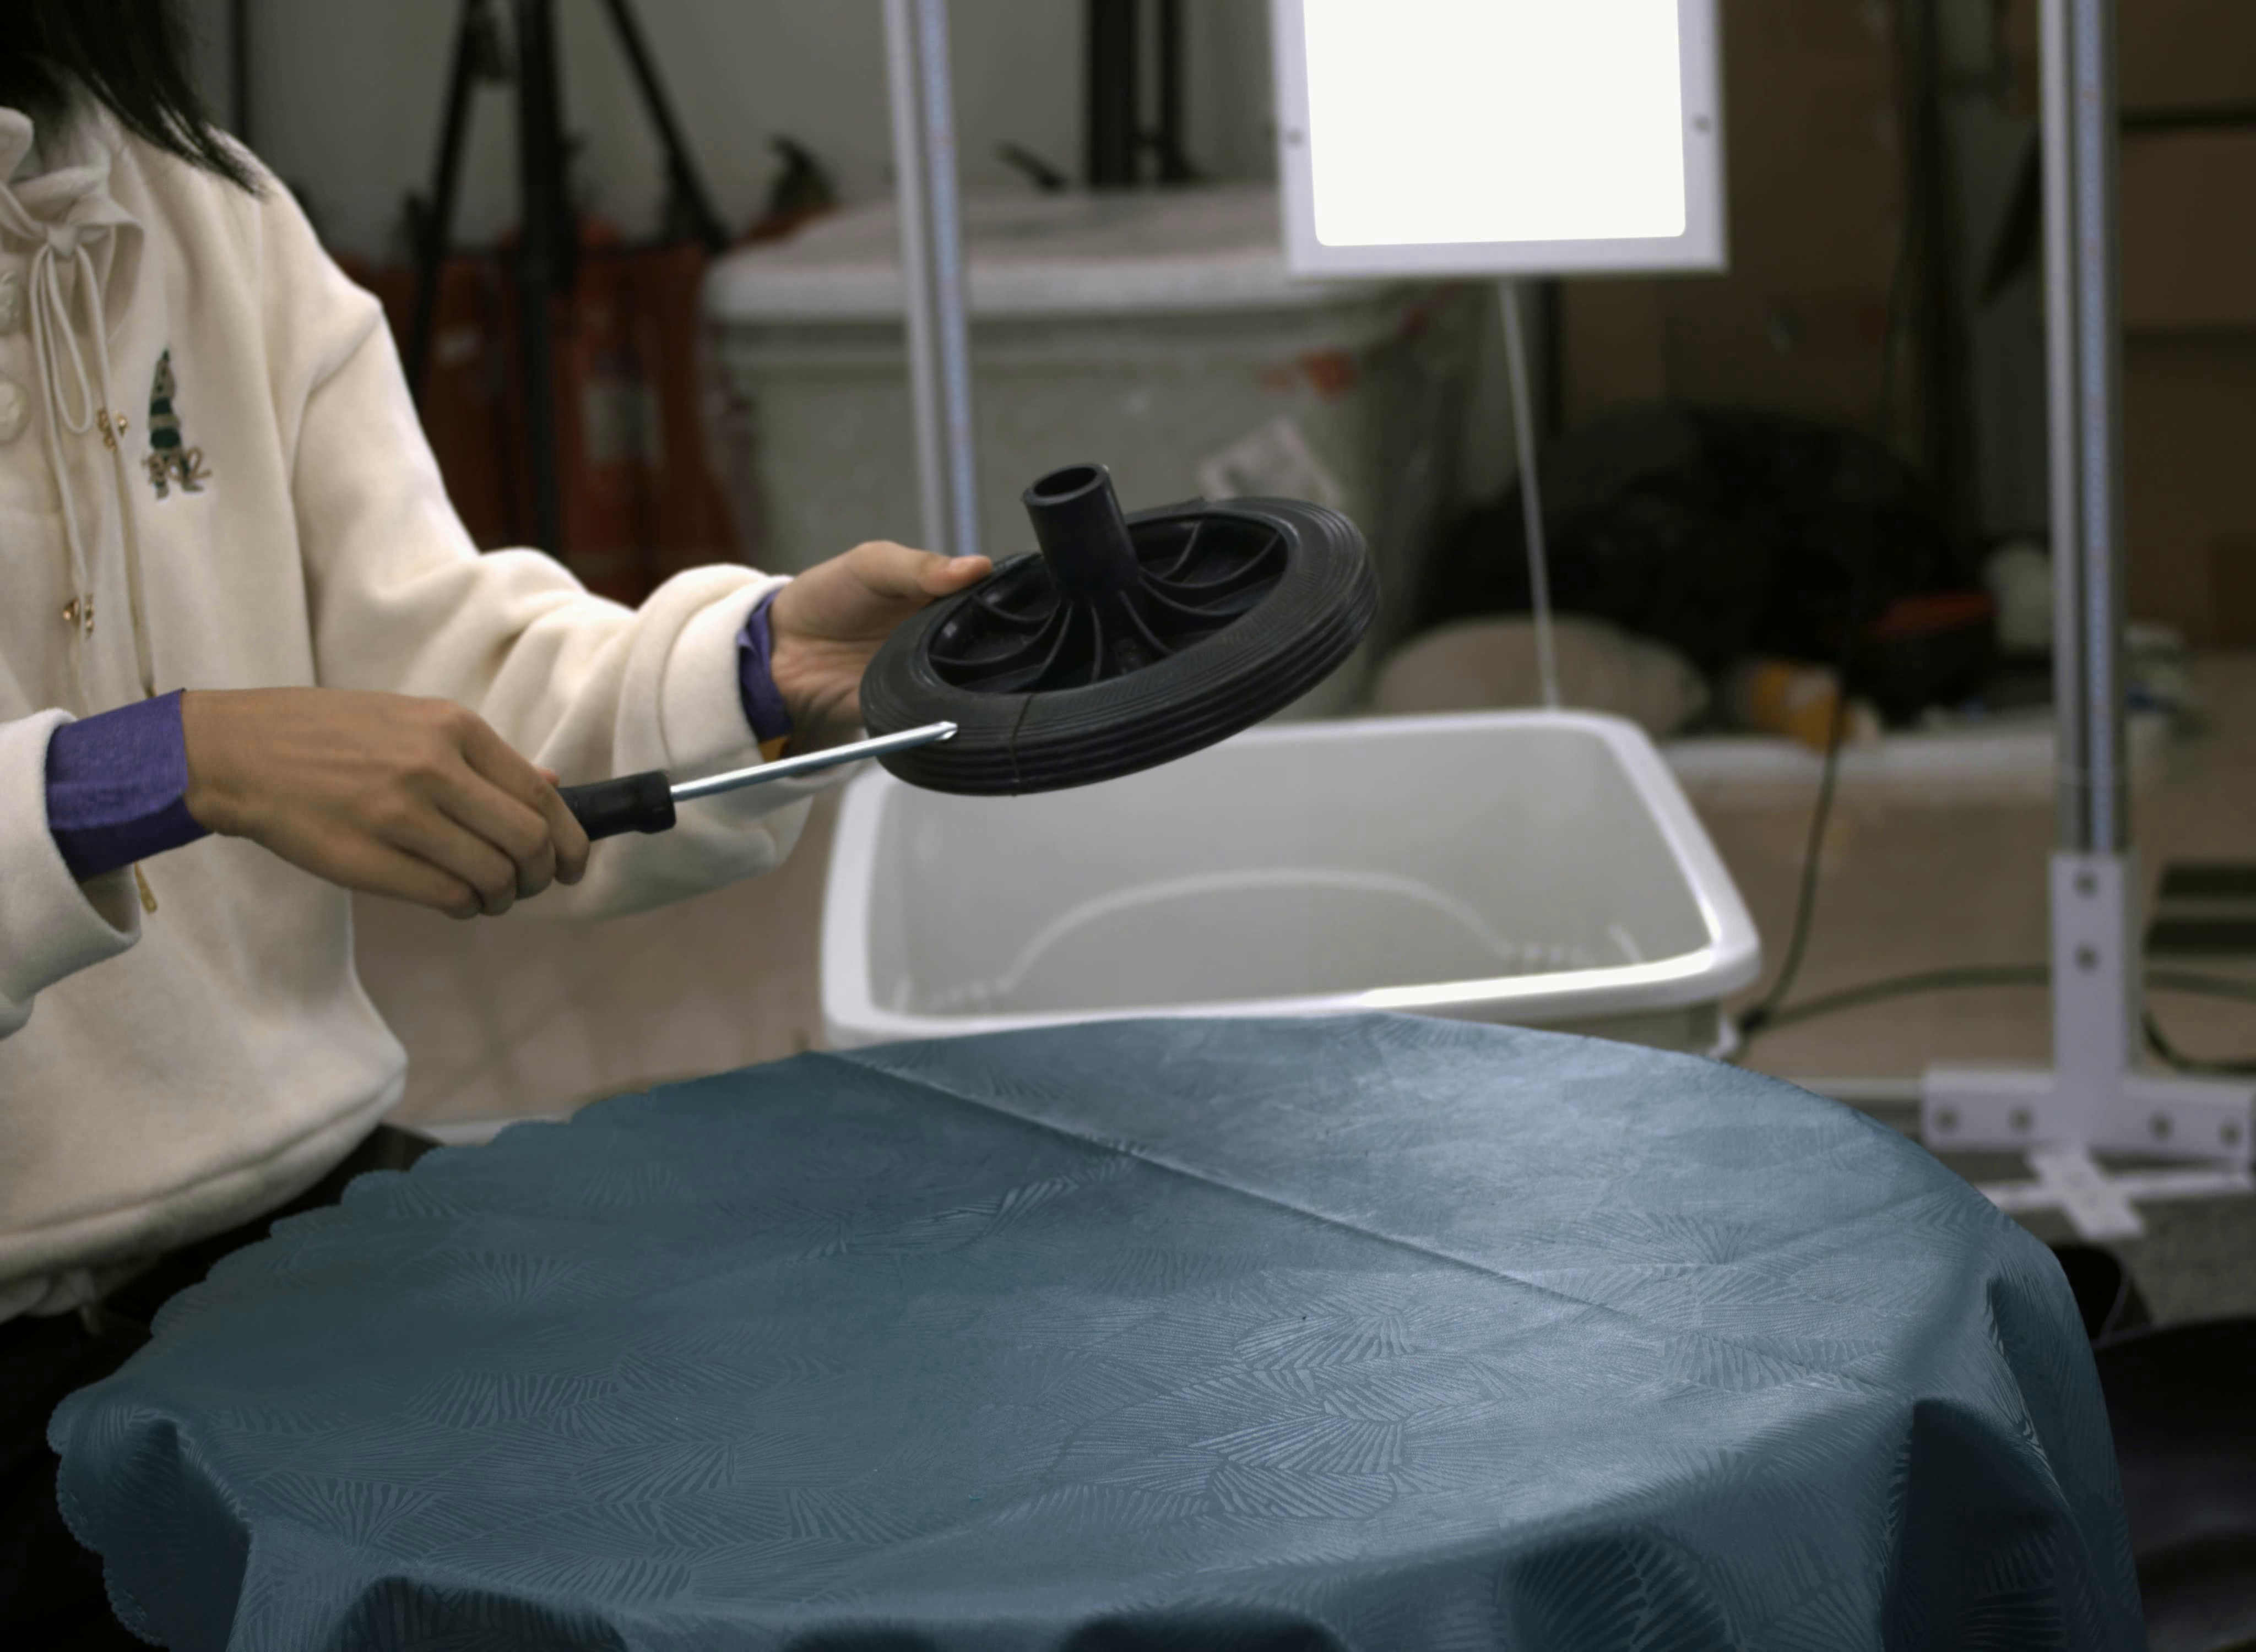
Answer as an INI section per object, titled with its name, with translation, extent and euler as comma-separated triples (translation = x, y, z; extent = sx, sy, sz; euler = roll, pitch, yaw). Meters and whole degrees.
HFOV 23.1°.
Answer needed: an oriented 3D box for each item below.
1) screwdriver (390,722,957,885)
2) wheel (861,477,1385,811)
[screwdriver]
translation = -0.154, -0.015, 1.864
extent = 0.195, 0.031, 0.031
euler = -16, 15, -3
[wheel]
translation = -0.008, -0.080, 1.918
extent = 0.184, 0.079, 0.193
euler = -30, 28, -20
